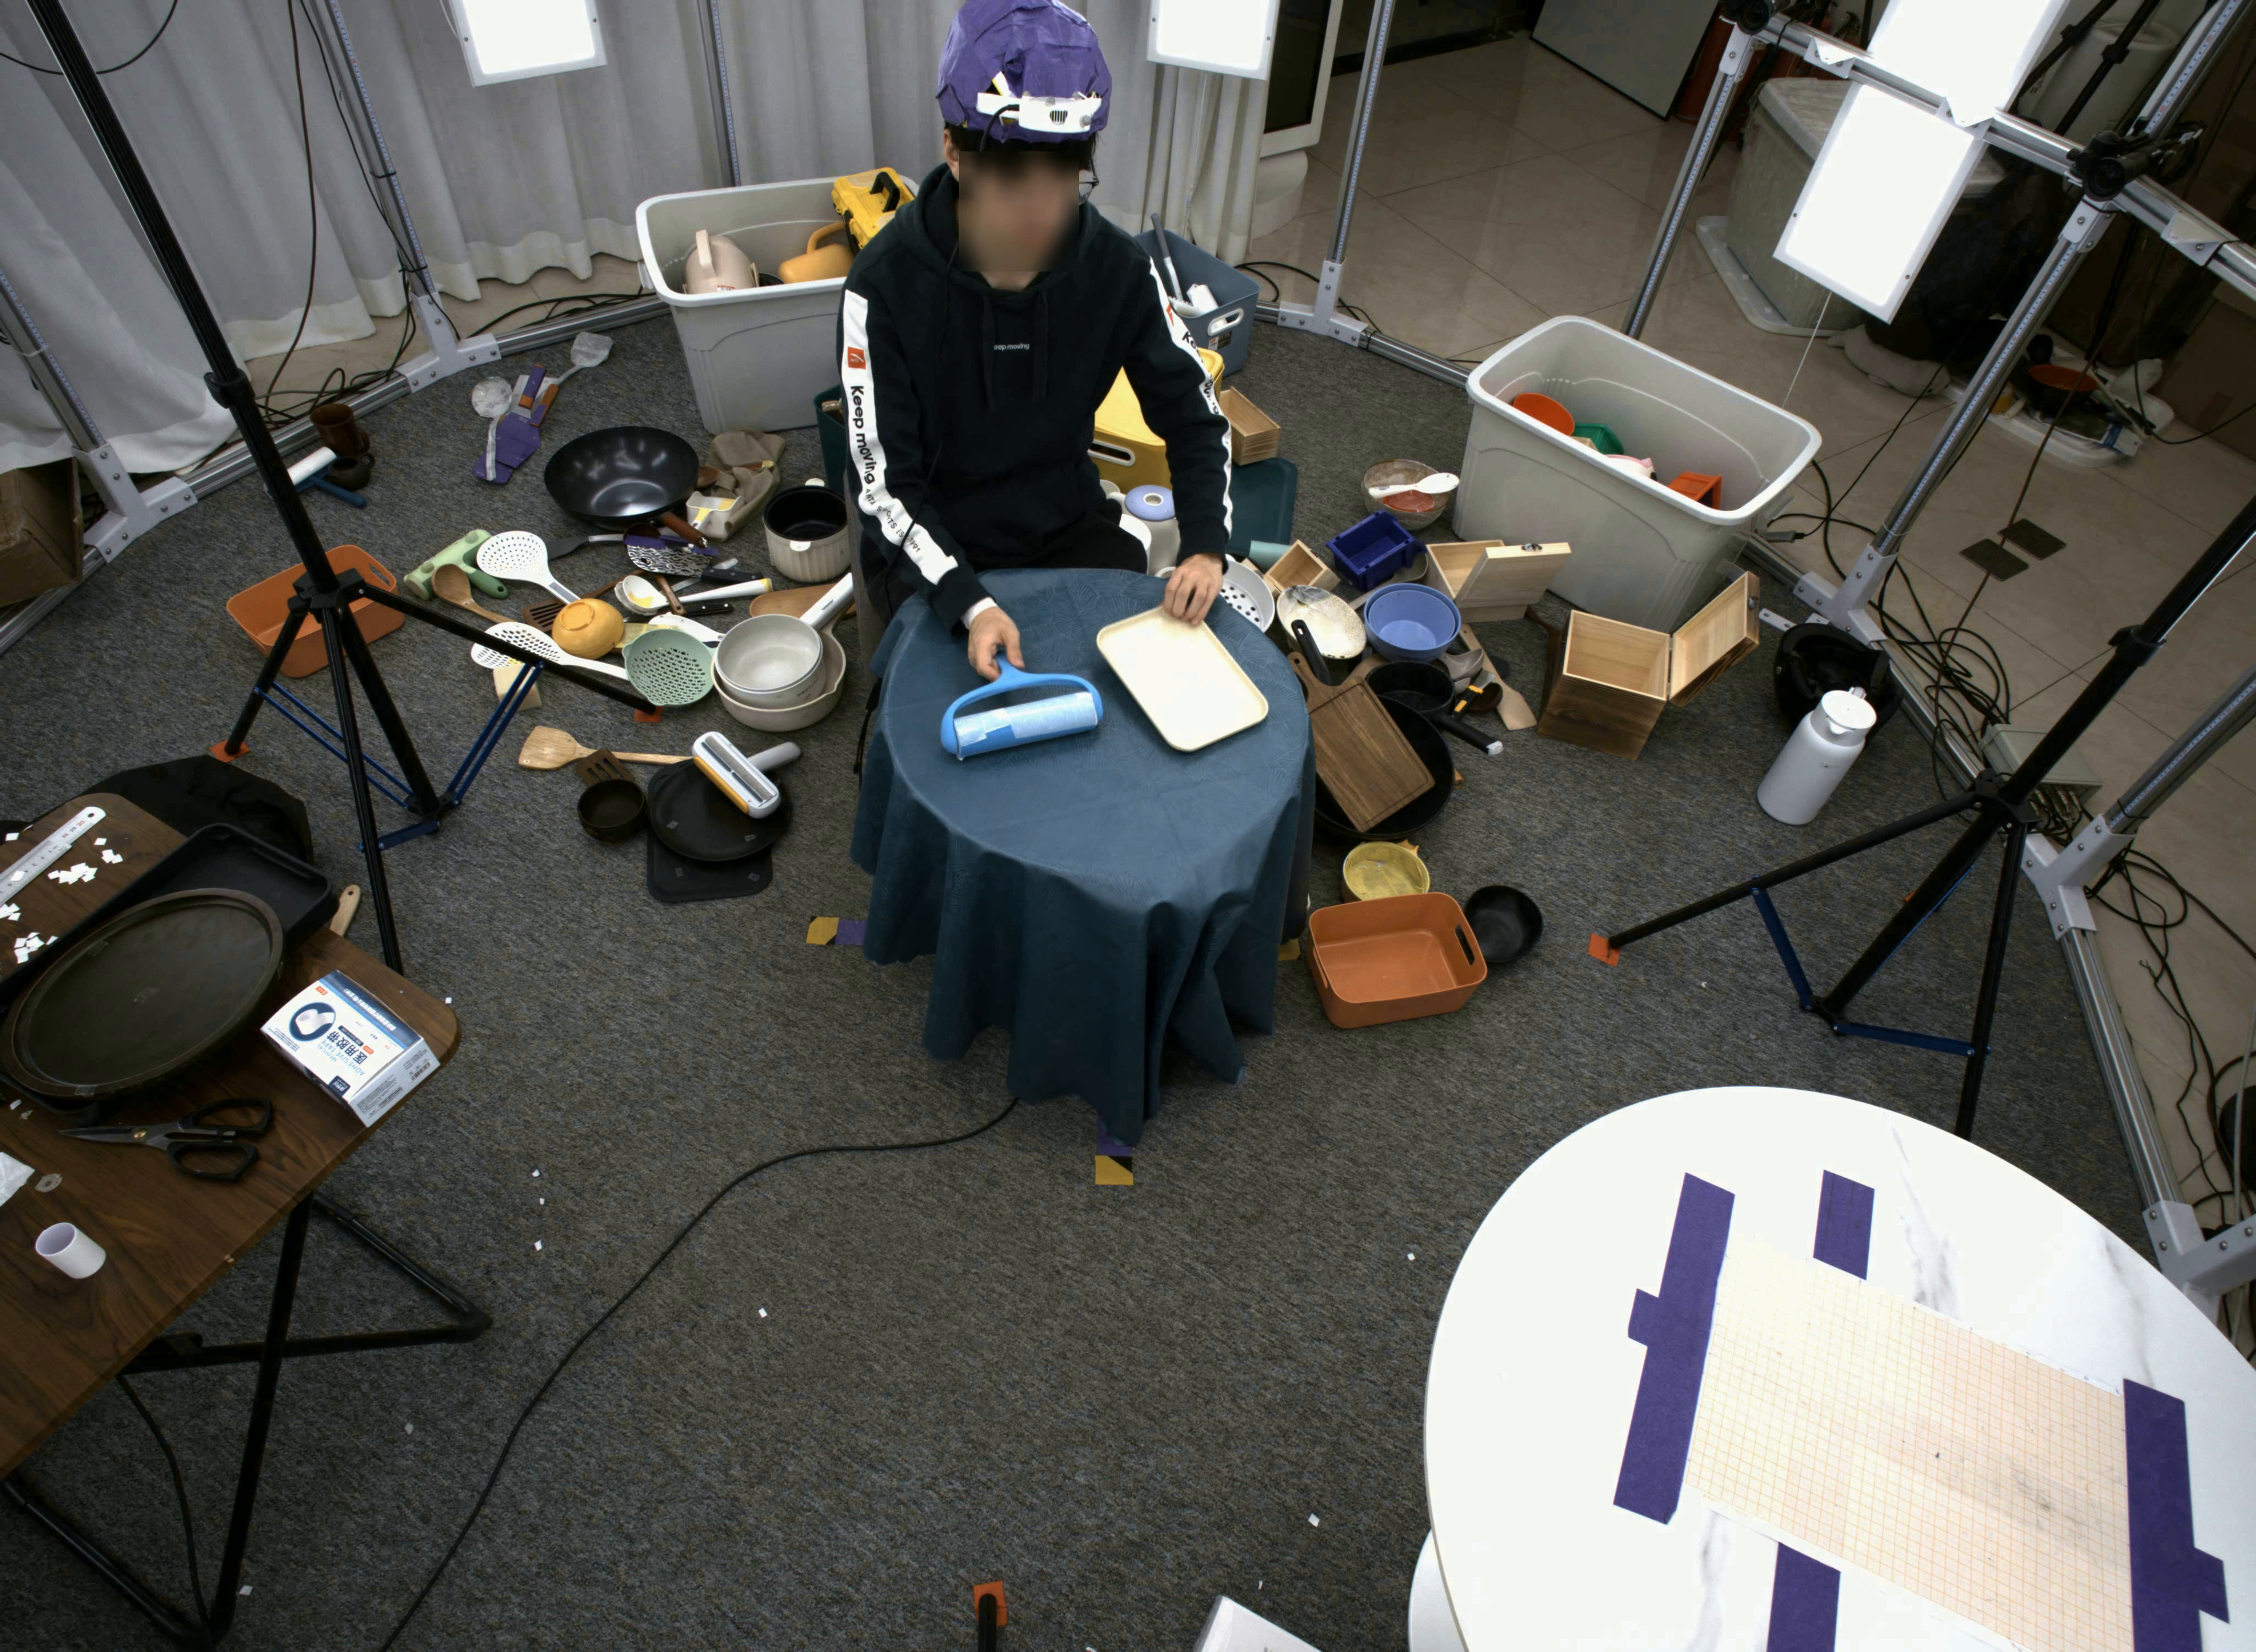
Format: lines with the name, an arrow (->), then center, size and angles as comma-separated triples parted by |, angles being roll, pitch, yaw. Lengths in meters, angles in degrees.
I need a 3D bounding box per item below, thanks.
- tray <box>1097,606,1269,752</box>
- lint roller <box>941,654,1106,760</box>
tray -> 0.076, -0.211, 1.827 | 0.172, 0.017, 0.244 | -23, 61, -24
lint roller -> -0.161, -0.185, 1.773 | 0.229, 0.066, 0.184 | -16, 59, -14
